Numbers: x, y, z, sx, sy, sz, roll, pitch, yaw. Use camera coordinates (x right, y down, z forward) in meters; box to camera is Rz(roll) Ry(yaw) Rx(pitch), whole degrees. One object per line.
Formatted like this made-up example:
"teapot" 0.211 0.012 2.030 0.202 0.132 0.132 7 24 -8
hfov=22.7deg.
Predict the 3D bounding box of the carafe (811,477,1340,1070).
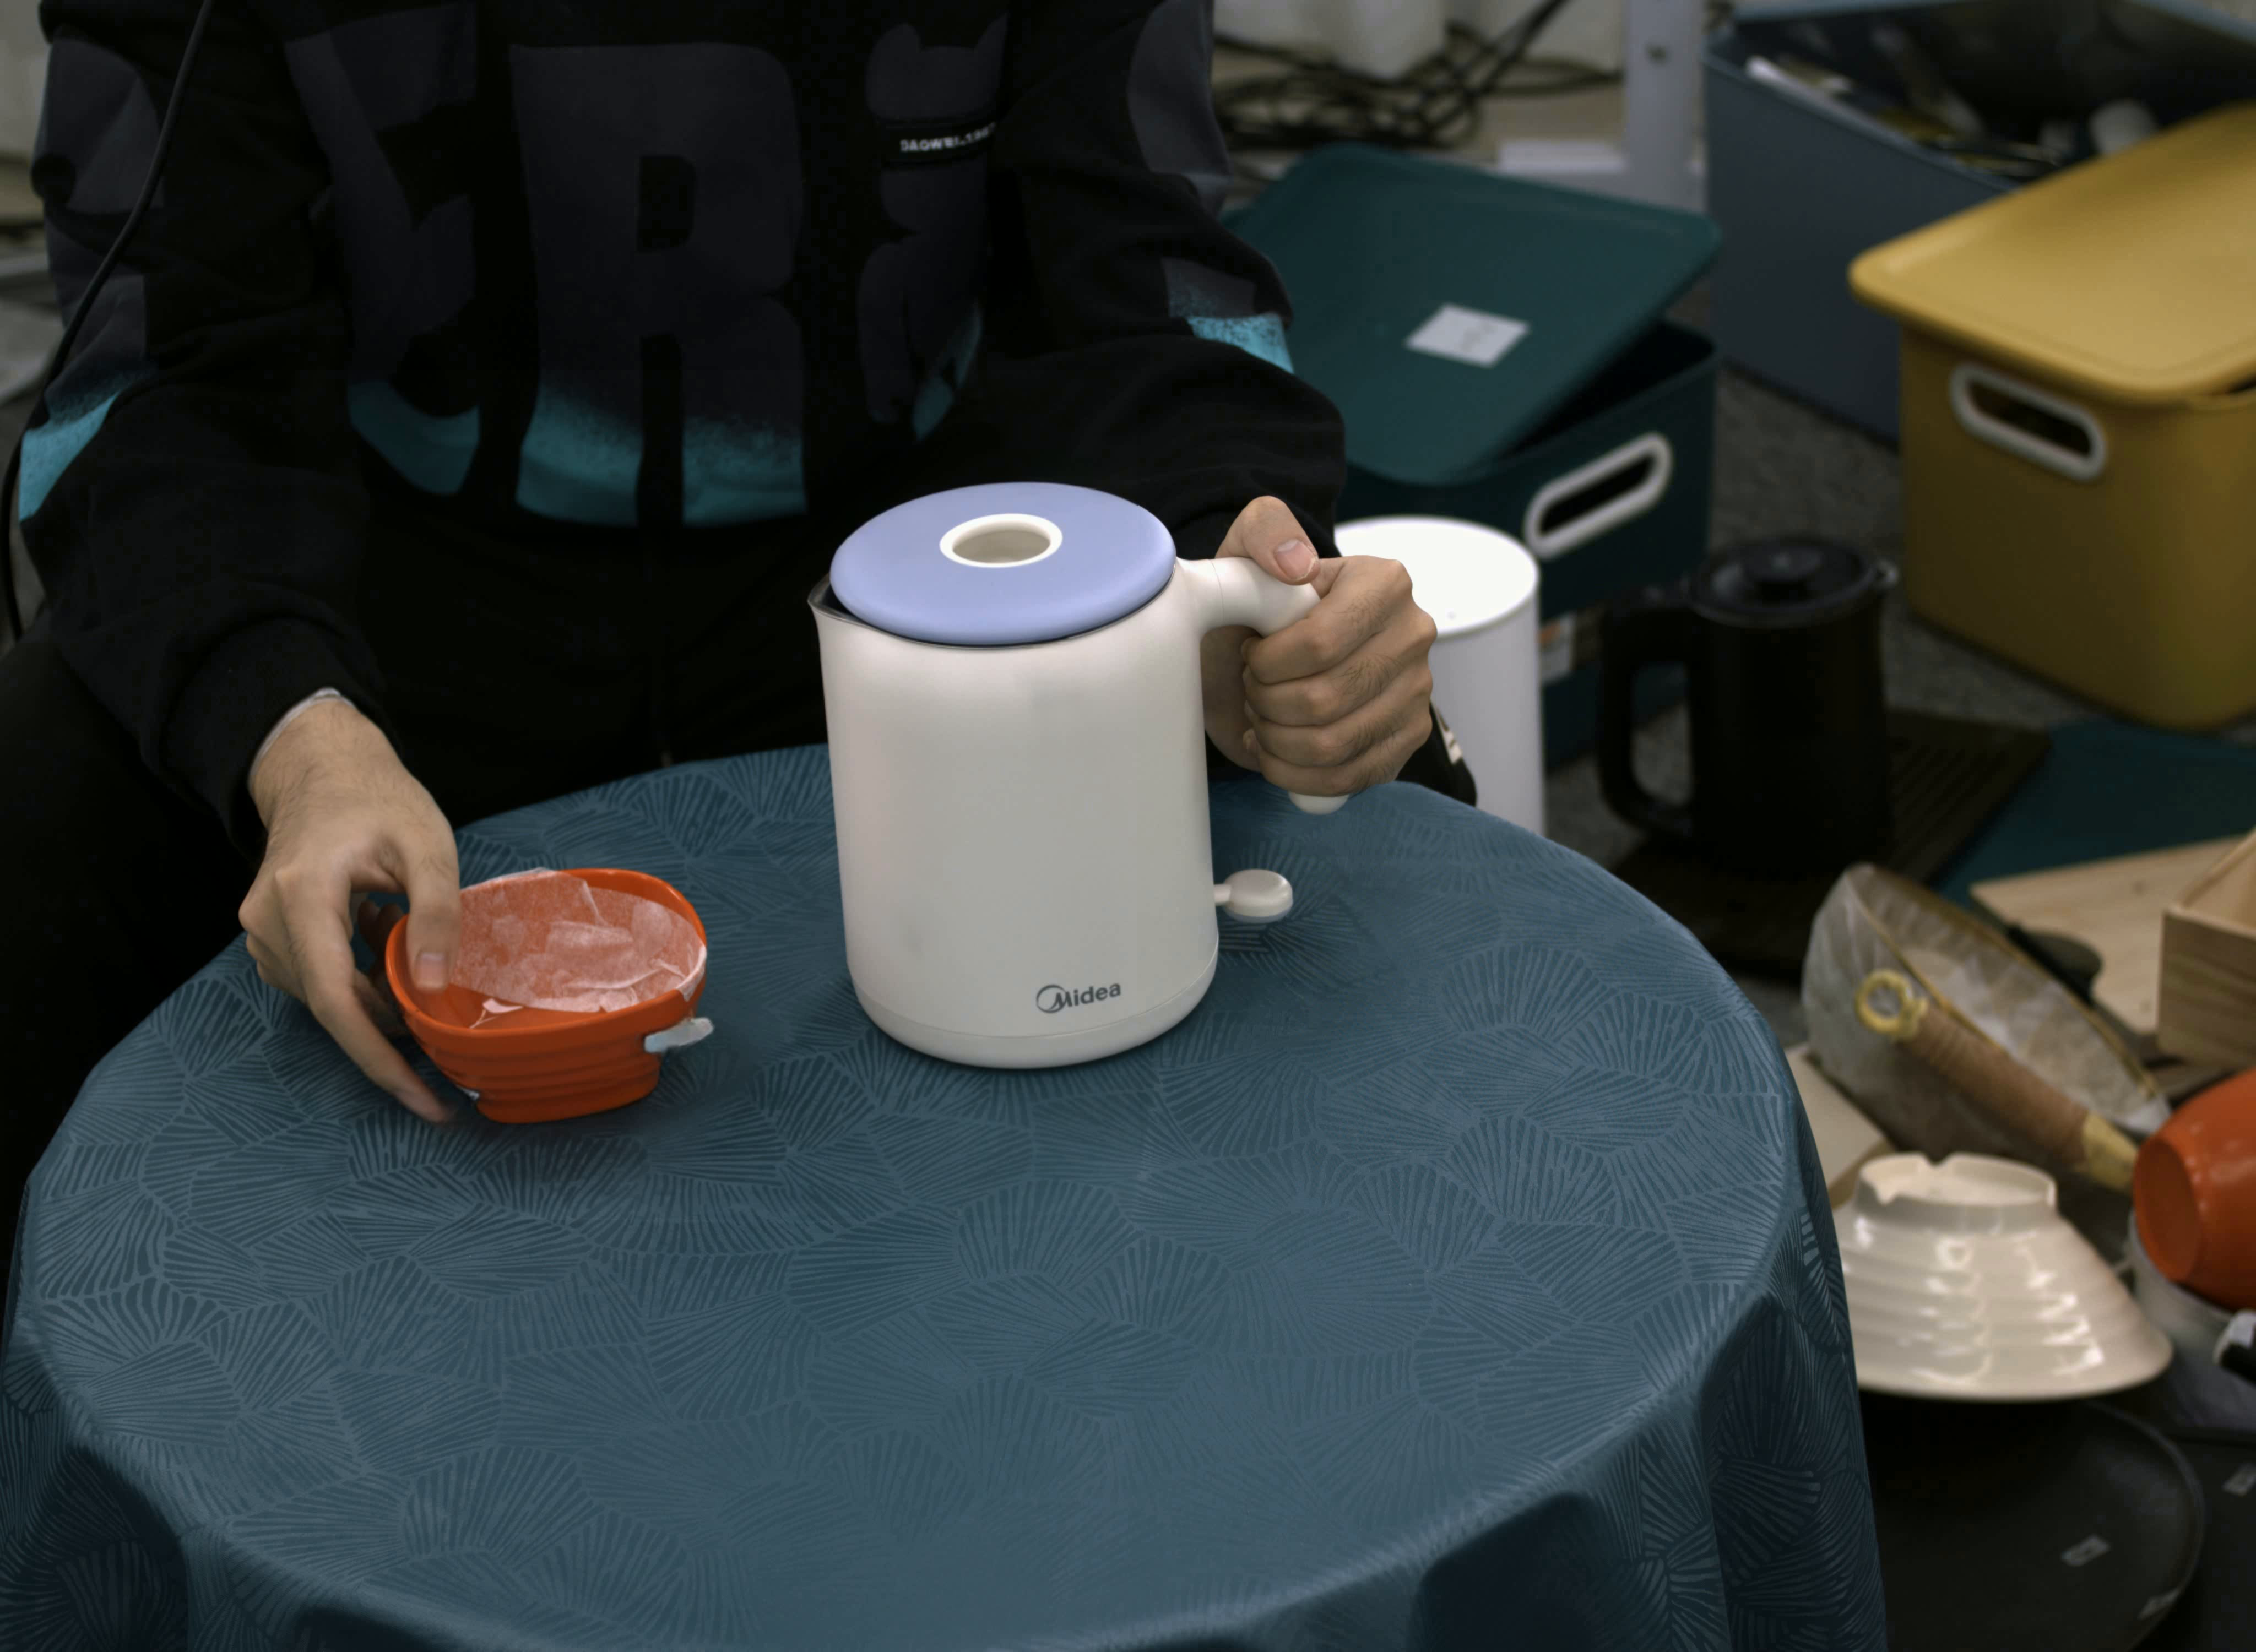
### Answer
"carafe" -0.015 -0.022 1.957 0.191 0.180 0.133 -9 28 -16

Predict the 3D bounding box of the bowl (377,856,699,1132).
"bowl" -0.200 0.063 1.937 0.118 0.051 0.121 -6 33 4
